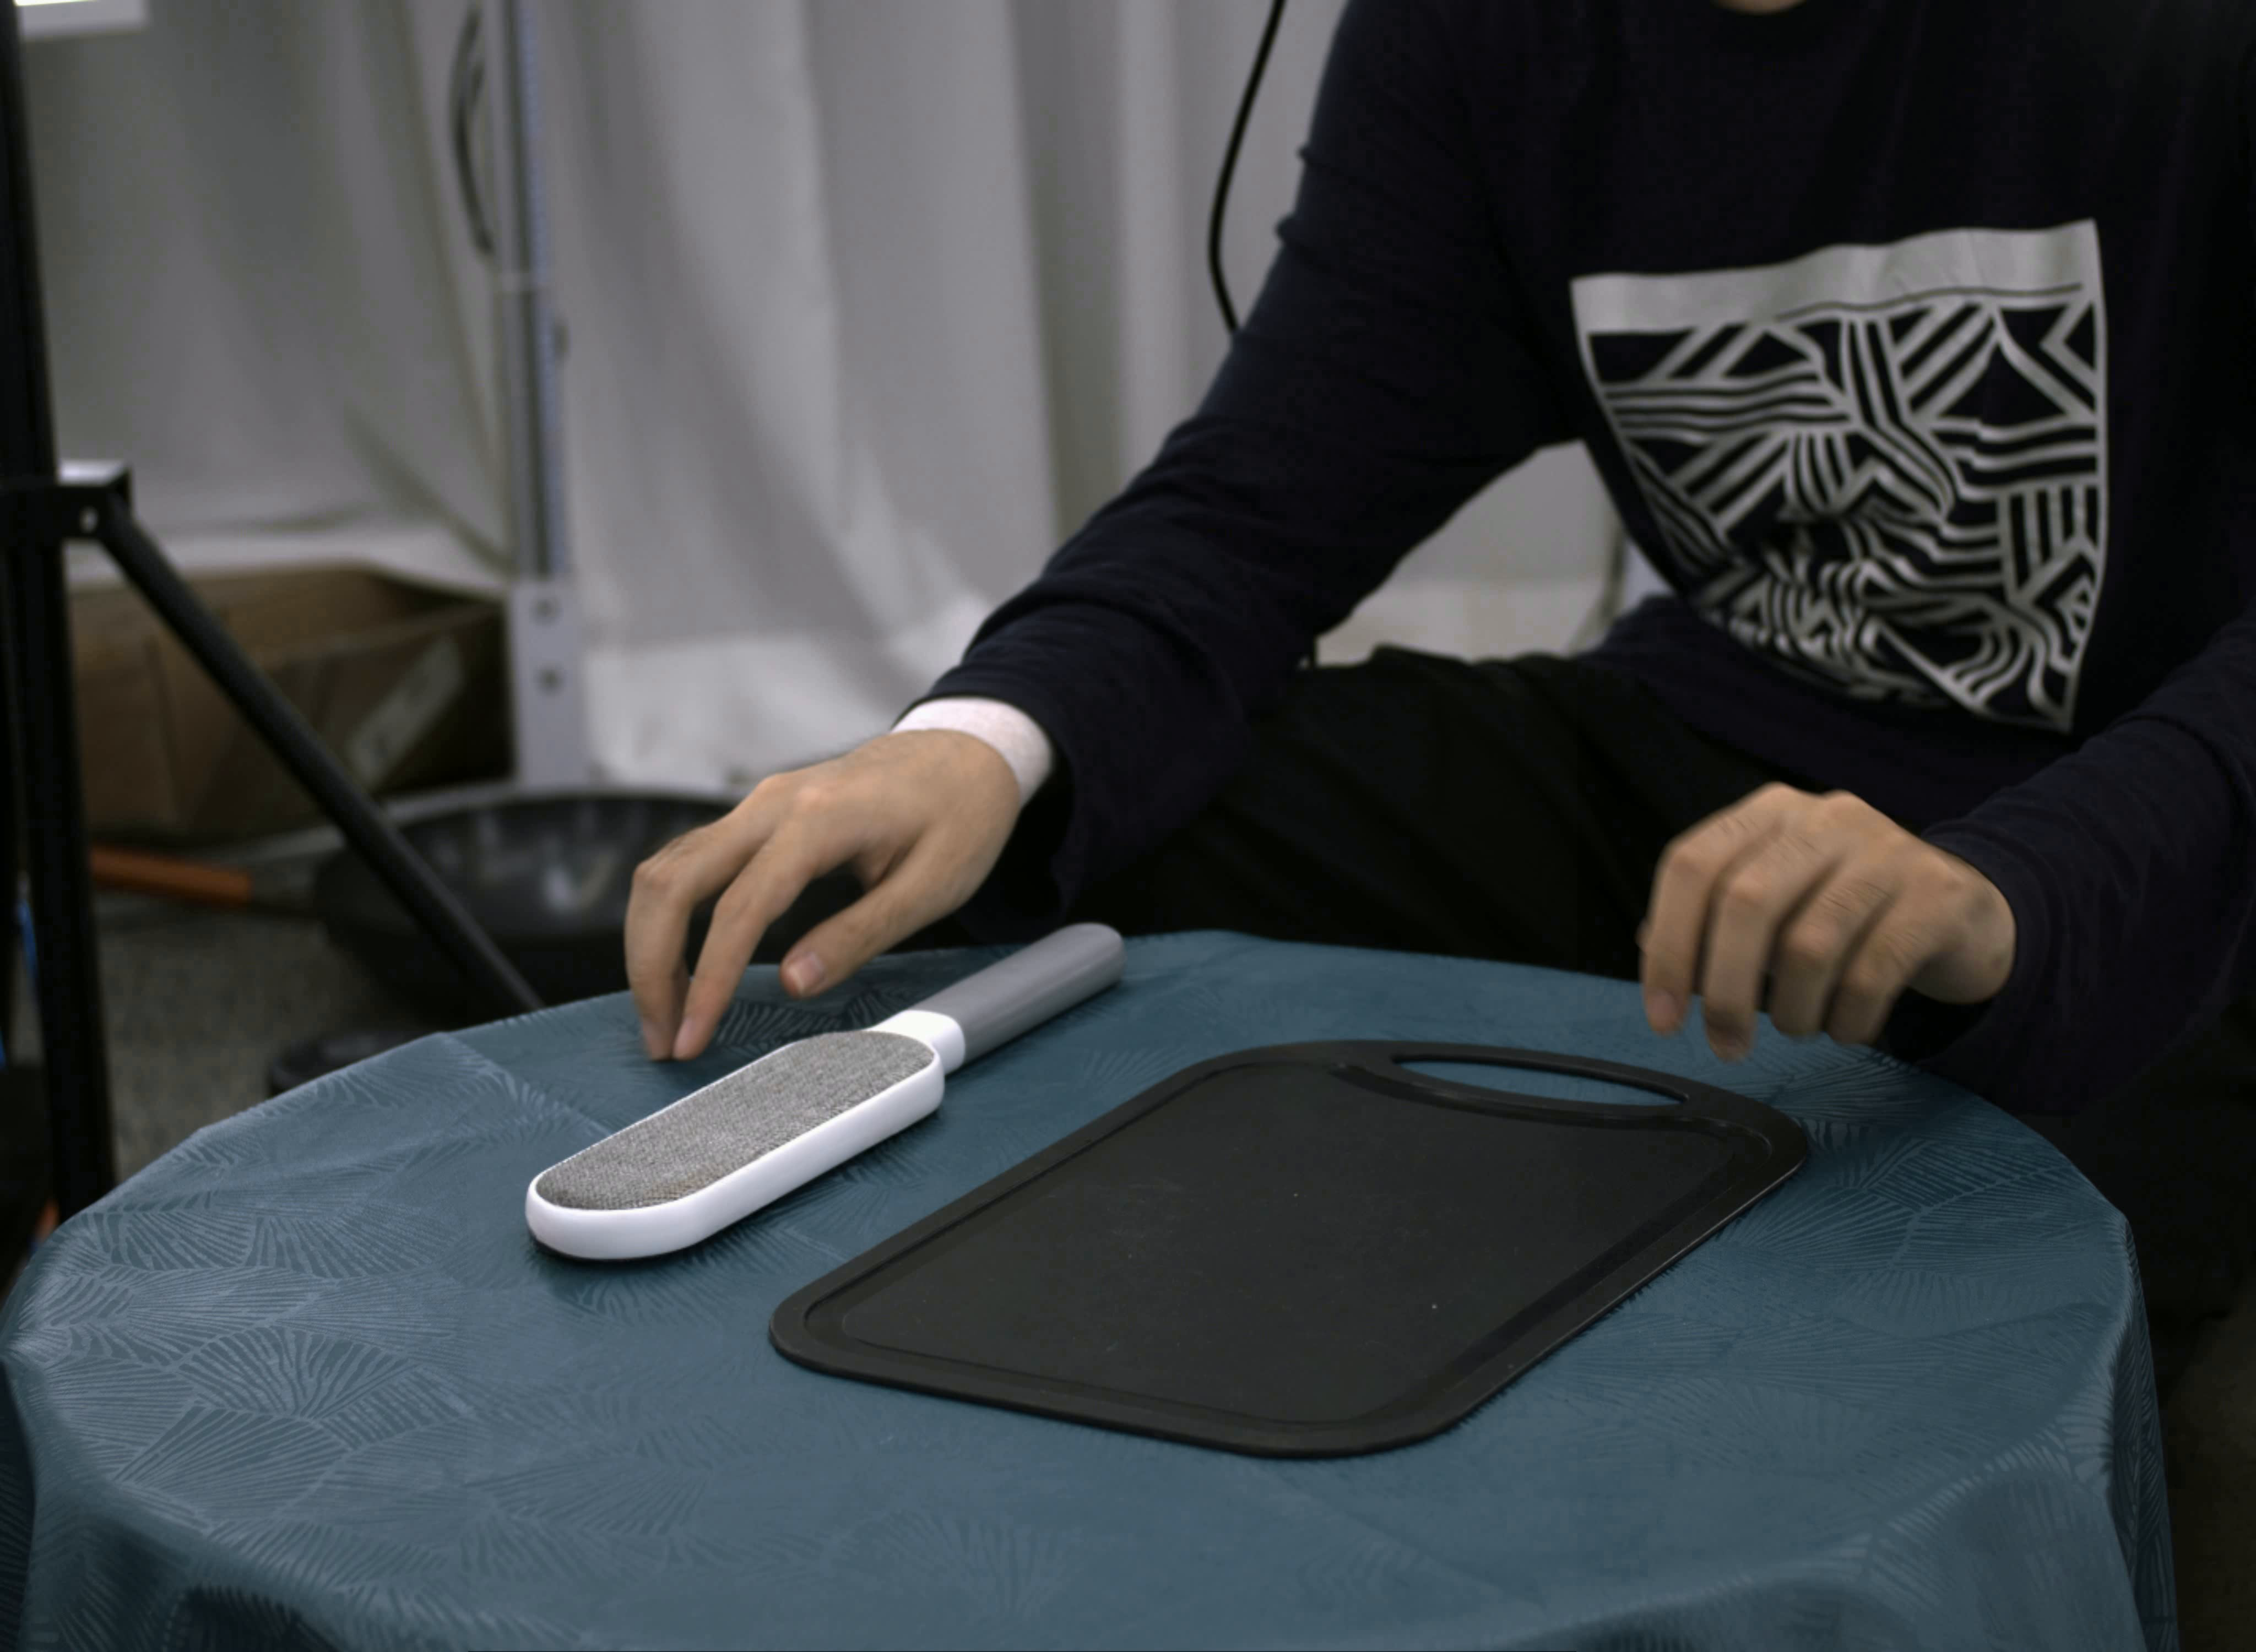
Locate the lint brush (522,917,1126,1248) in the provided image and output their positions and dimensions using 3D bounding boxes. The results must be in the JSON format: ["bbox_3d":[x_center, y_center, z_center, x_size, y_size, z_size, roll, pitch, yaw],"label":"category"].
[{"bbox_3d":[-0.083,0.076,1.640,0.061,0.021,0.303,1,15,31],"label":"lint brush"}]

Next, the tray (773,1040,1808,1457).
[{"bbox_3d":[0.056,0.112,1.528,0.215,0.010,0.319,8,18,32],"label":"tray"}]
